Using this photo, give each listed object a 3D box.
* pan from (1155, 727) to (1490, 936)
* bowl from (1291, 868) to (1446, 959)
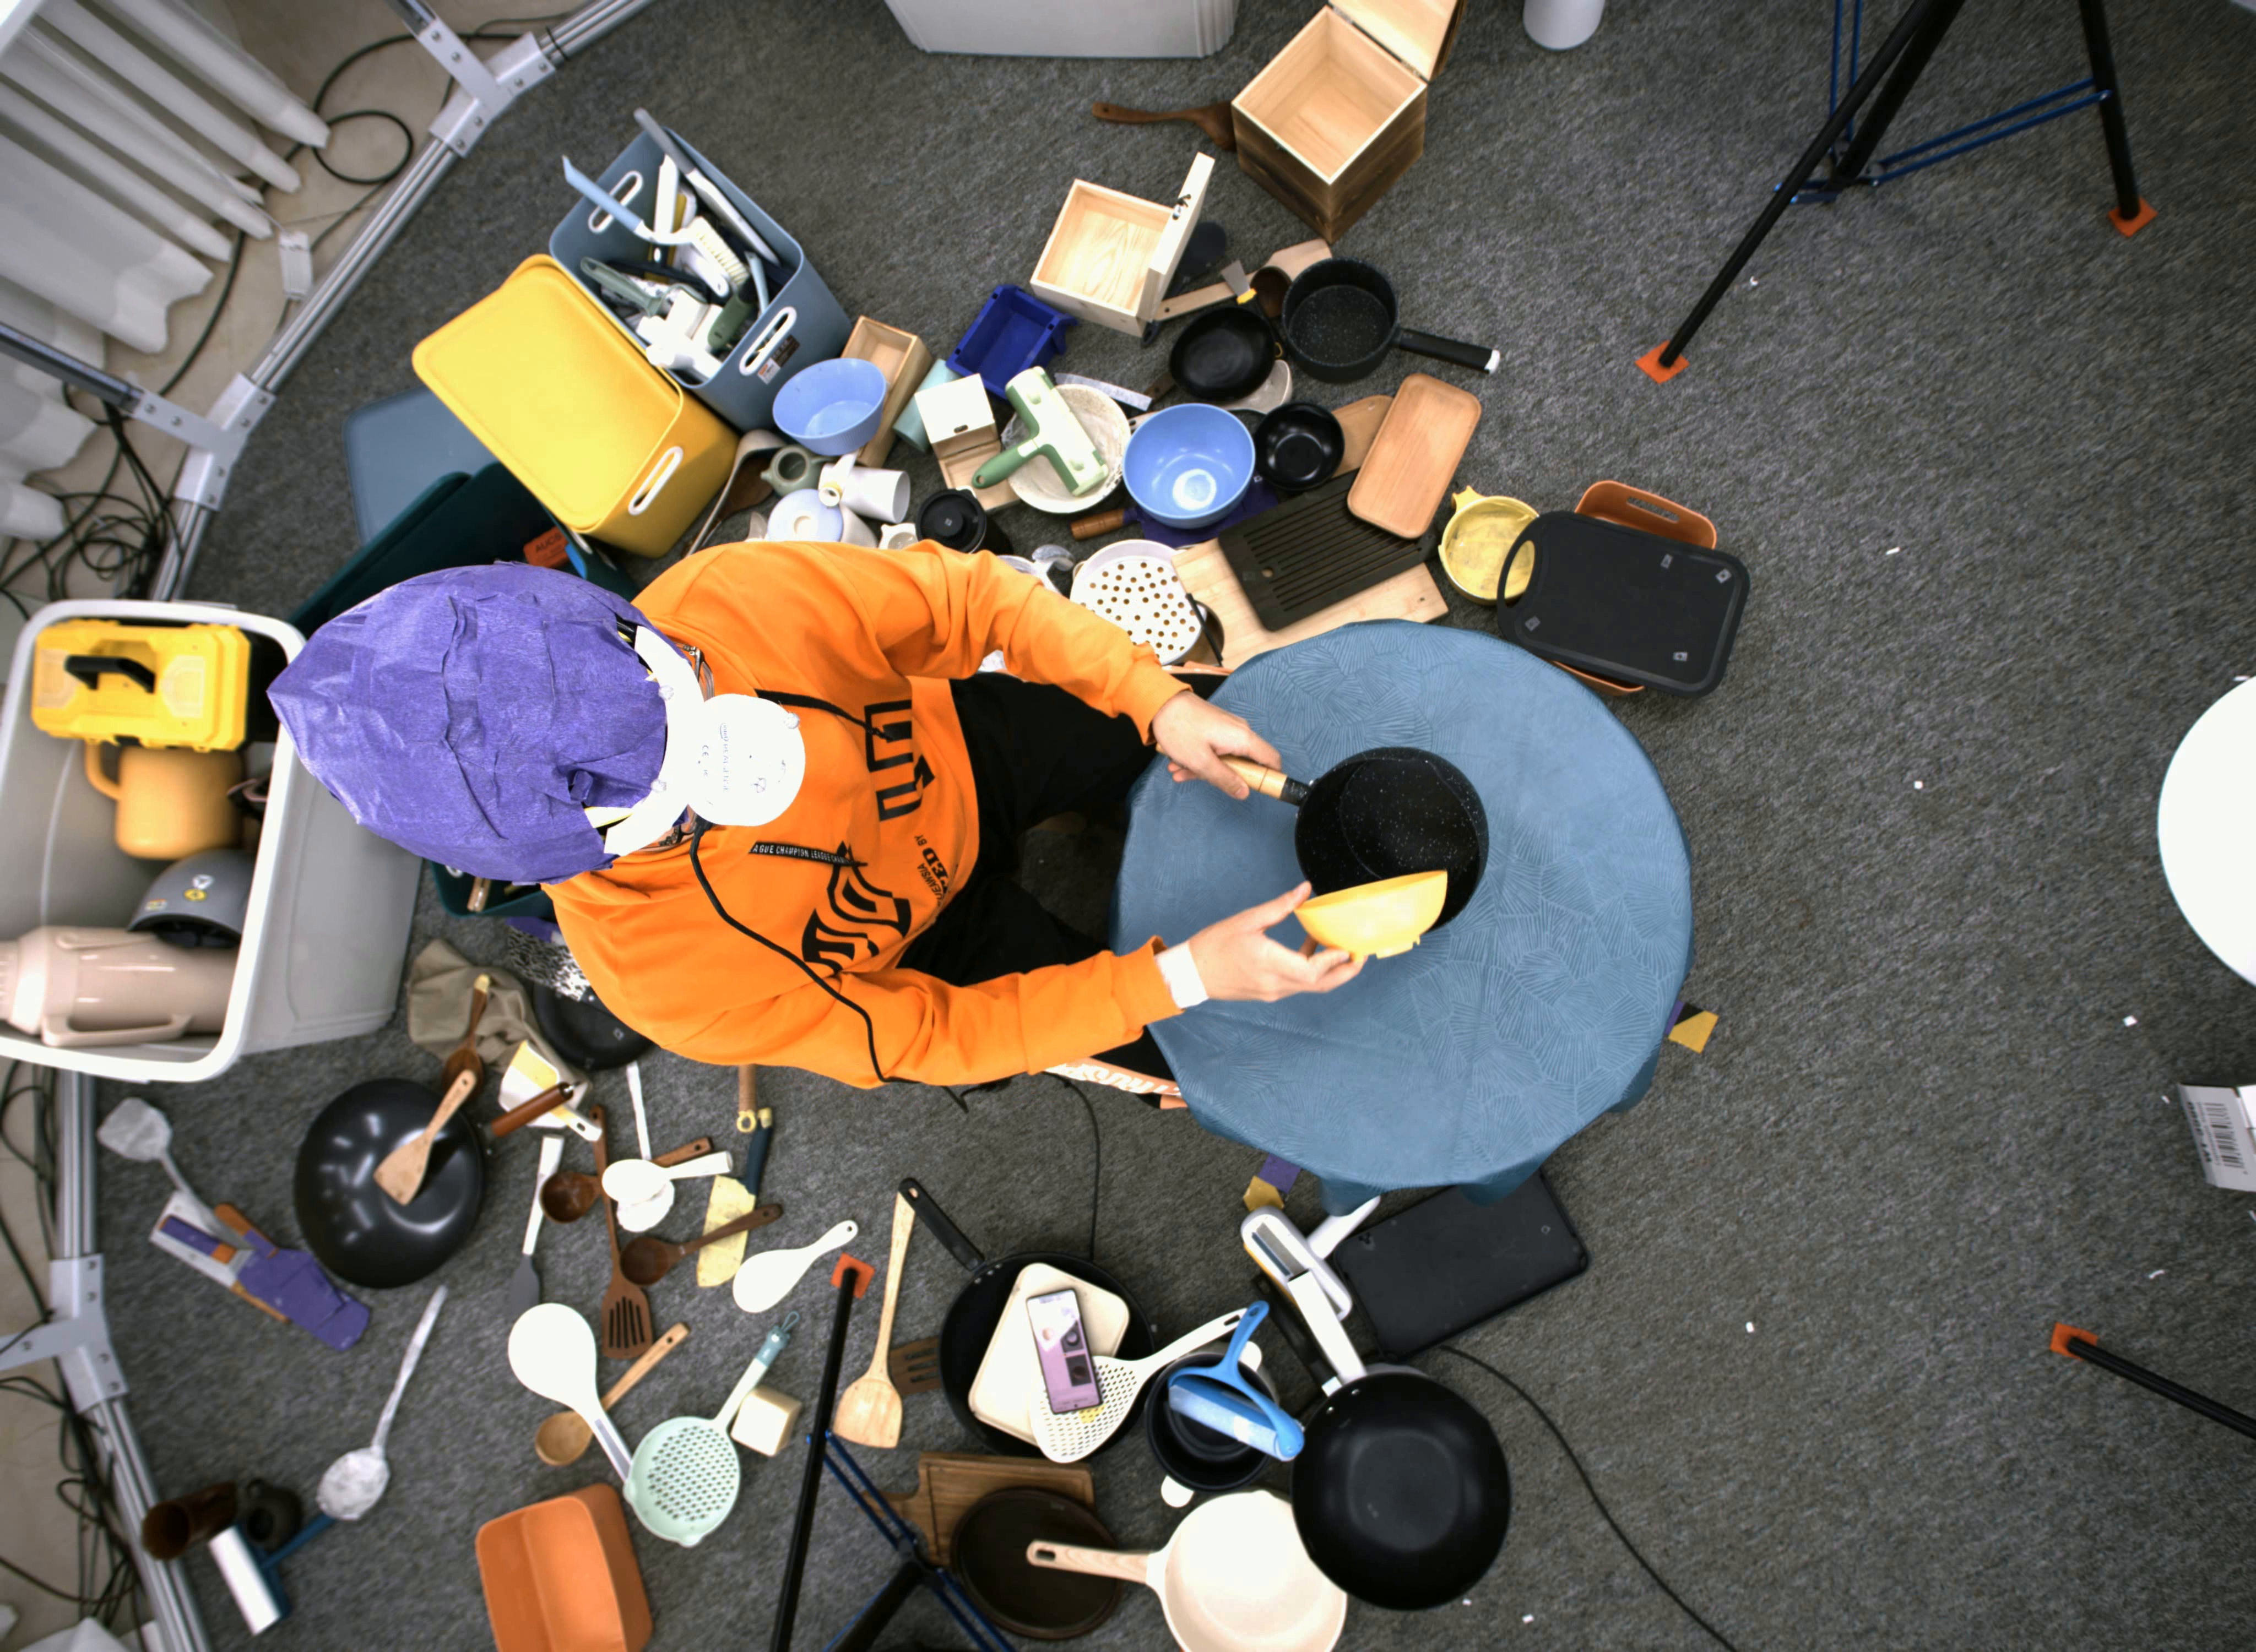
[{"bbox_3d":[0.192,-0.025,1.358,0.342,0.106,0.212,27,124,15],"label":"pan"},{"bbox_3d":[0.226,0.083,1.272,0.146,0.144,0.060,-13,97,9],"label":"bowl"}]
